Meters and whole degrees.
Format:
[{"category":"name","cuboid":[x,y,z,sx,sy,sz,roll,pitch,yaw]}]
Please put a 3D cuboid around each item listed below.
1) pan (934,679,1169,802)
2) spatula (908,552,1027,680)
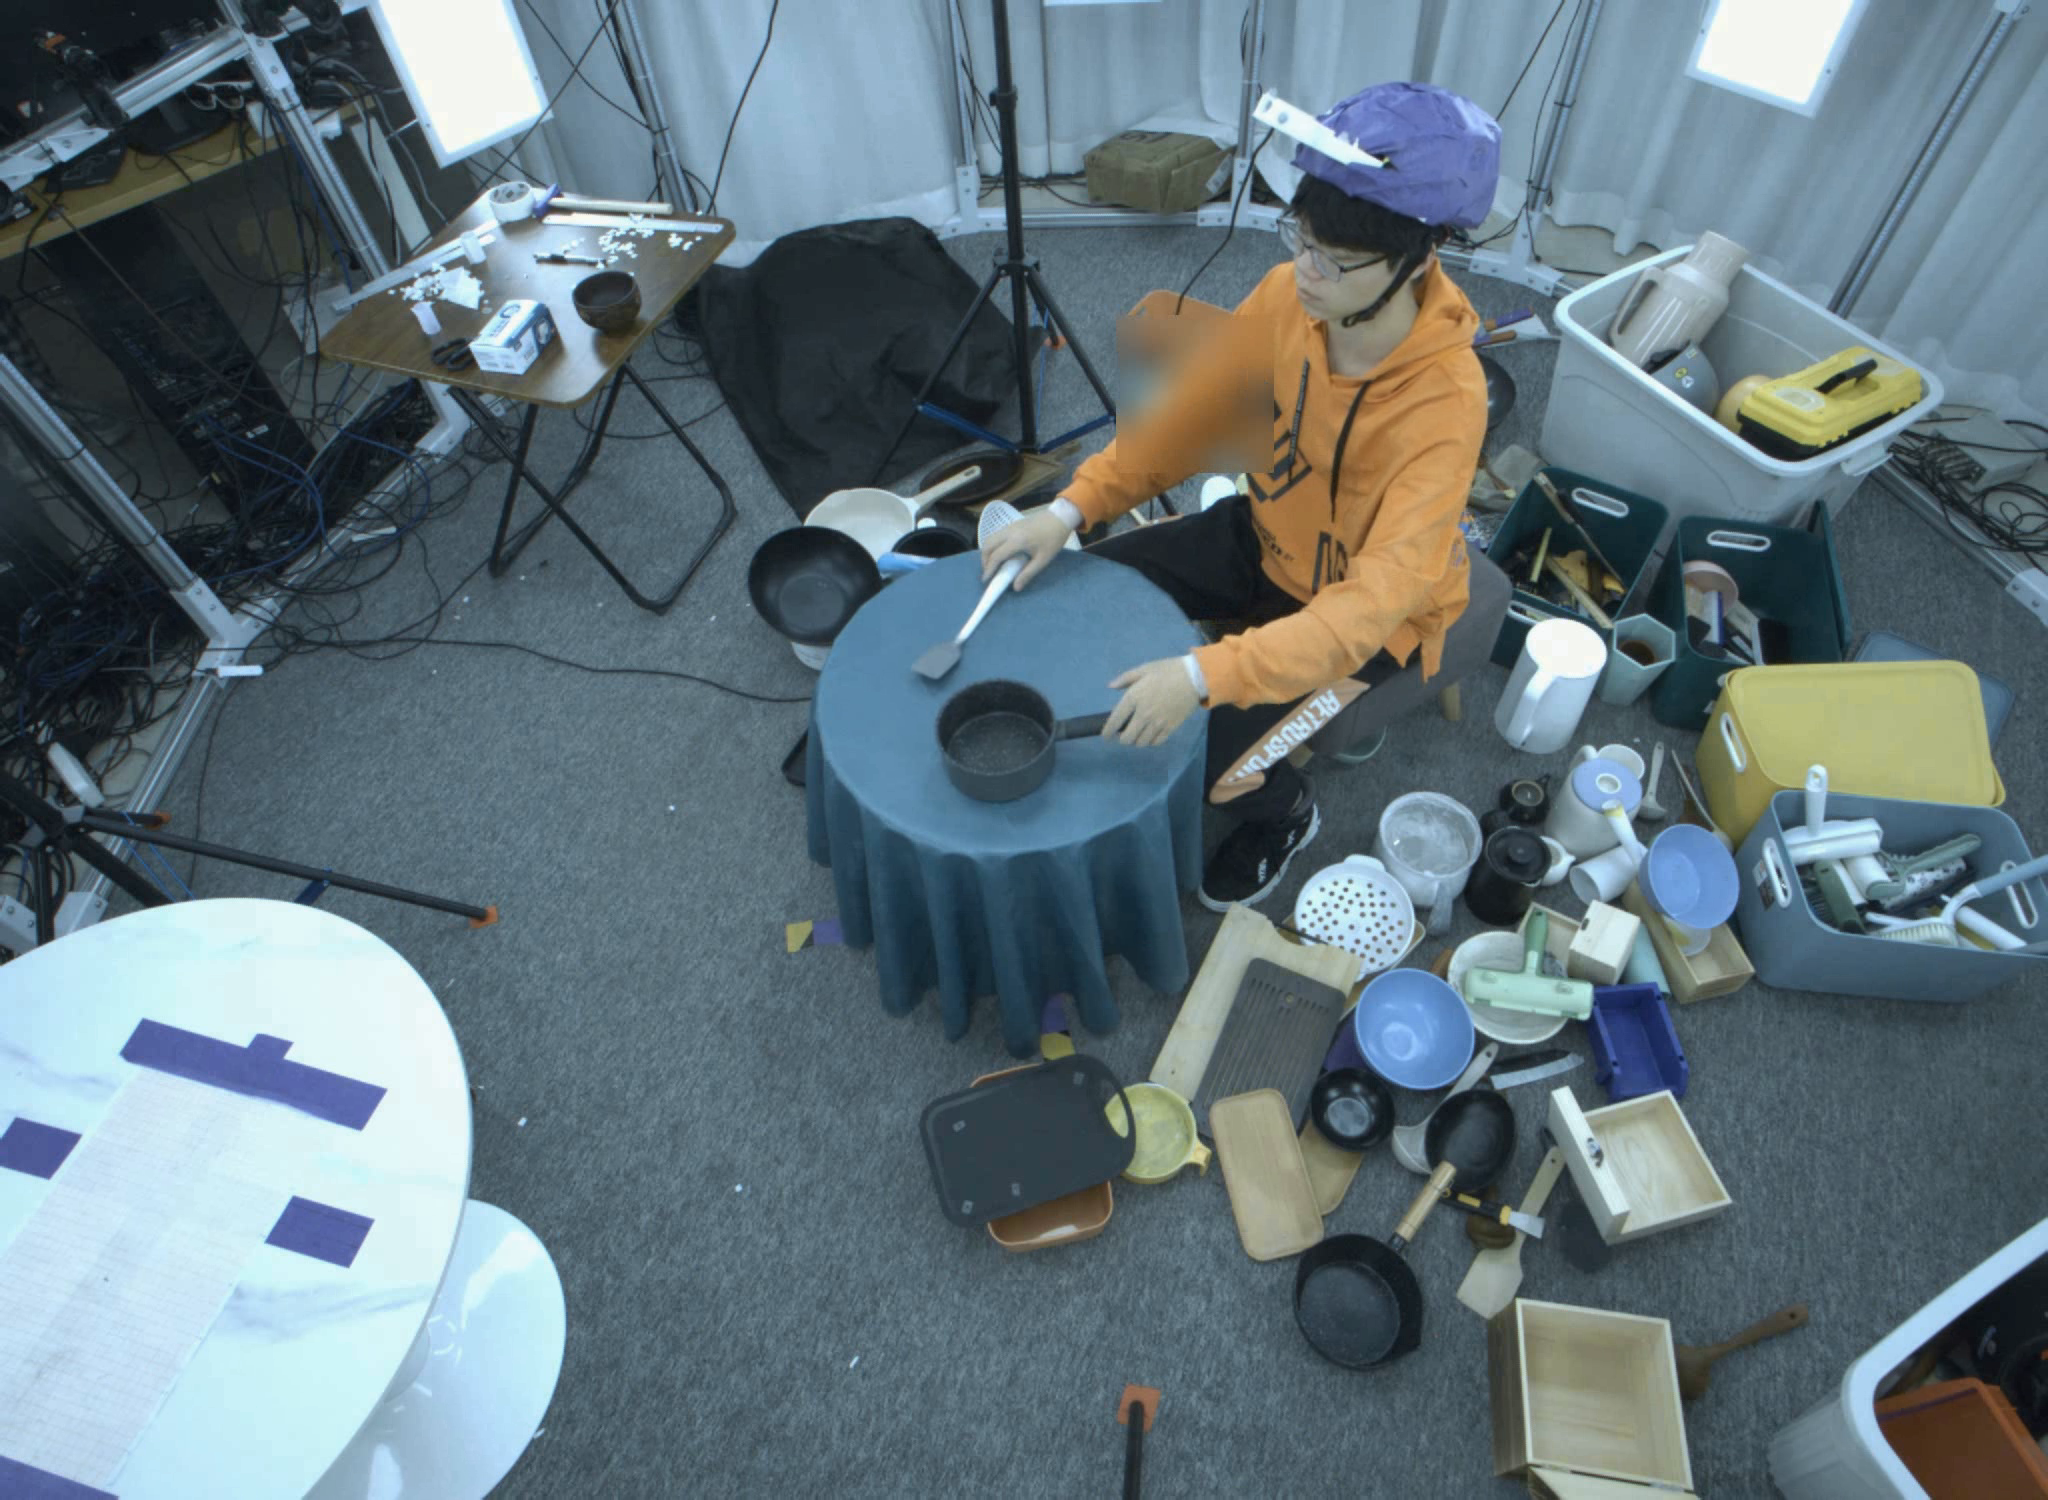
[{"category":"pan","cuboid":[0.041,-0.018,1.746,0.328,0.087,0.170,-3,55,3]},{"category":"spatula","cuboid":[-0.081,-0.208,1.917,0.058,0.032,0.288,27,59,15]}]
